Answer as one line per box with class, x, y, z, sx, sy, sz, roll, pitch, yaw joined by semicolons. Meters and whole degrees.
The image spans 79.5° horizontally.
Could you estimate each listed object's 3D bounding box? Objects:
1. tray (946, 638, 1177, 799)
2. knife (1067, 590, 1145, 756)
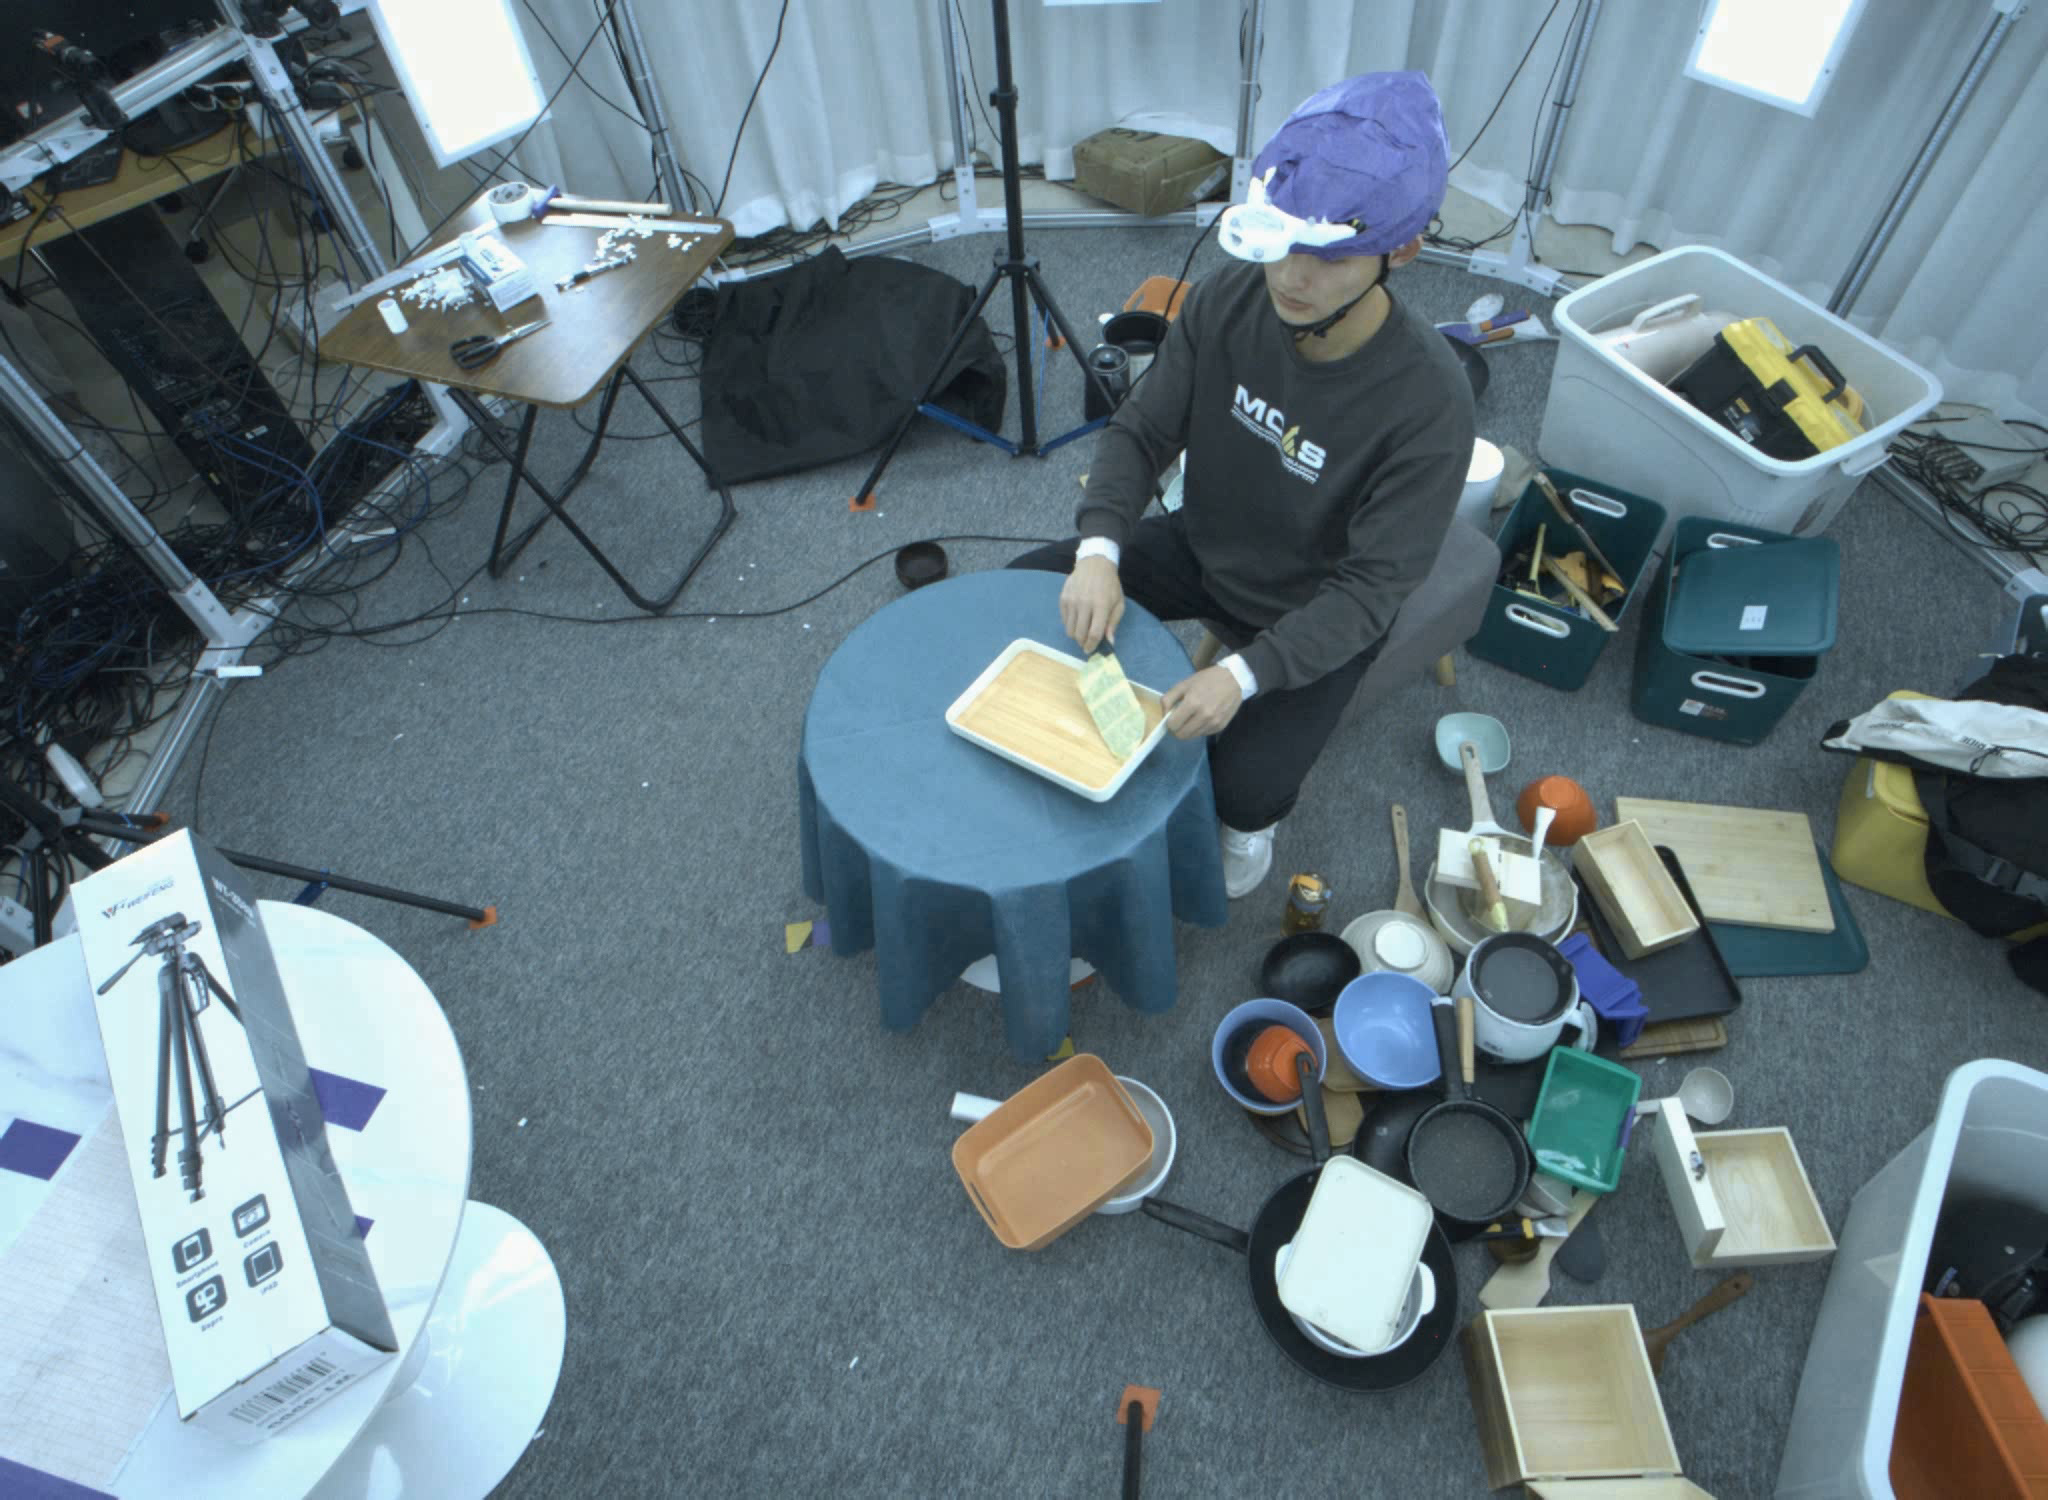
tray;0.051;-0.051;1.777;0.294;0.028;0.192;26;60;31
knife;0.107;-0.111;1.762;0.080;0.028;0.285;-33;59;24
